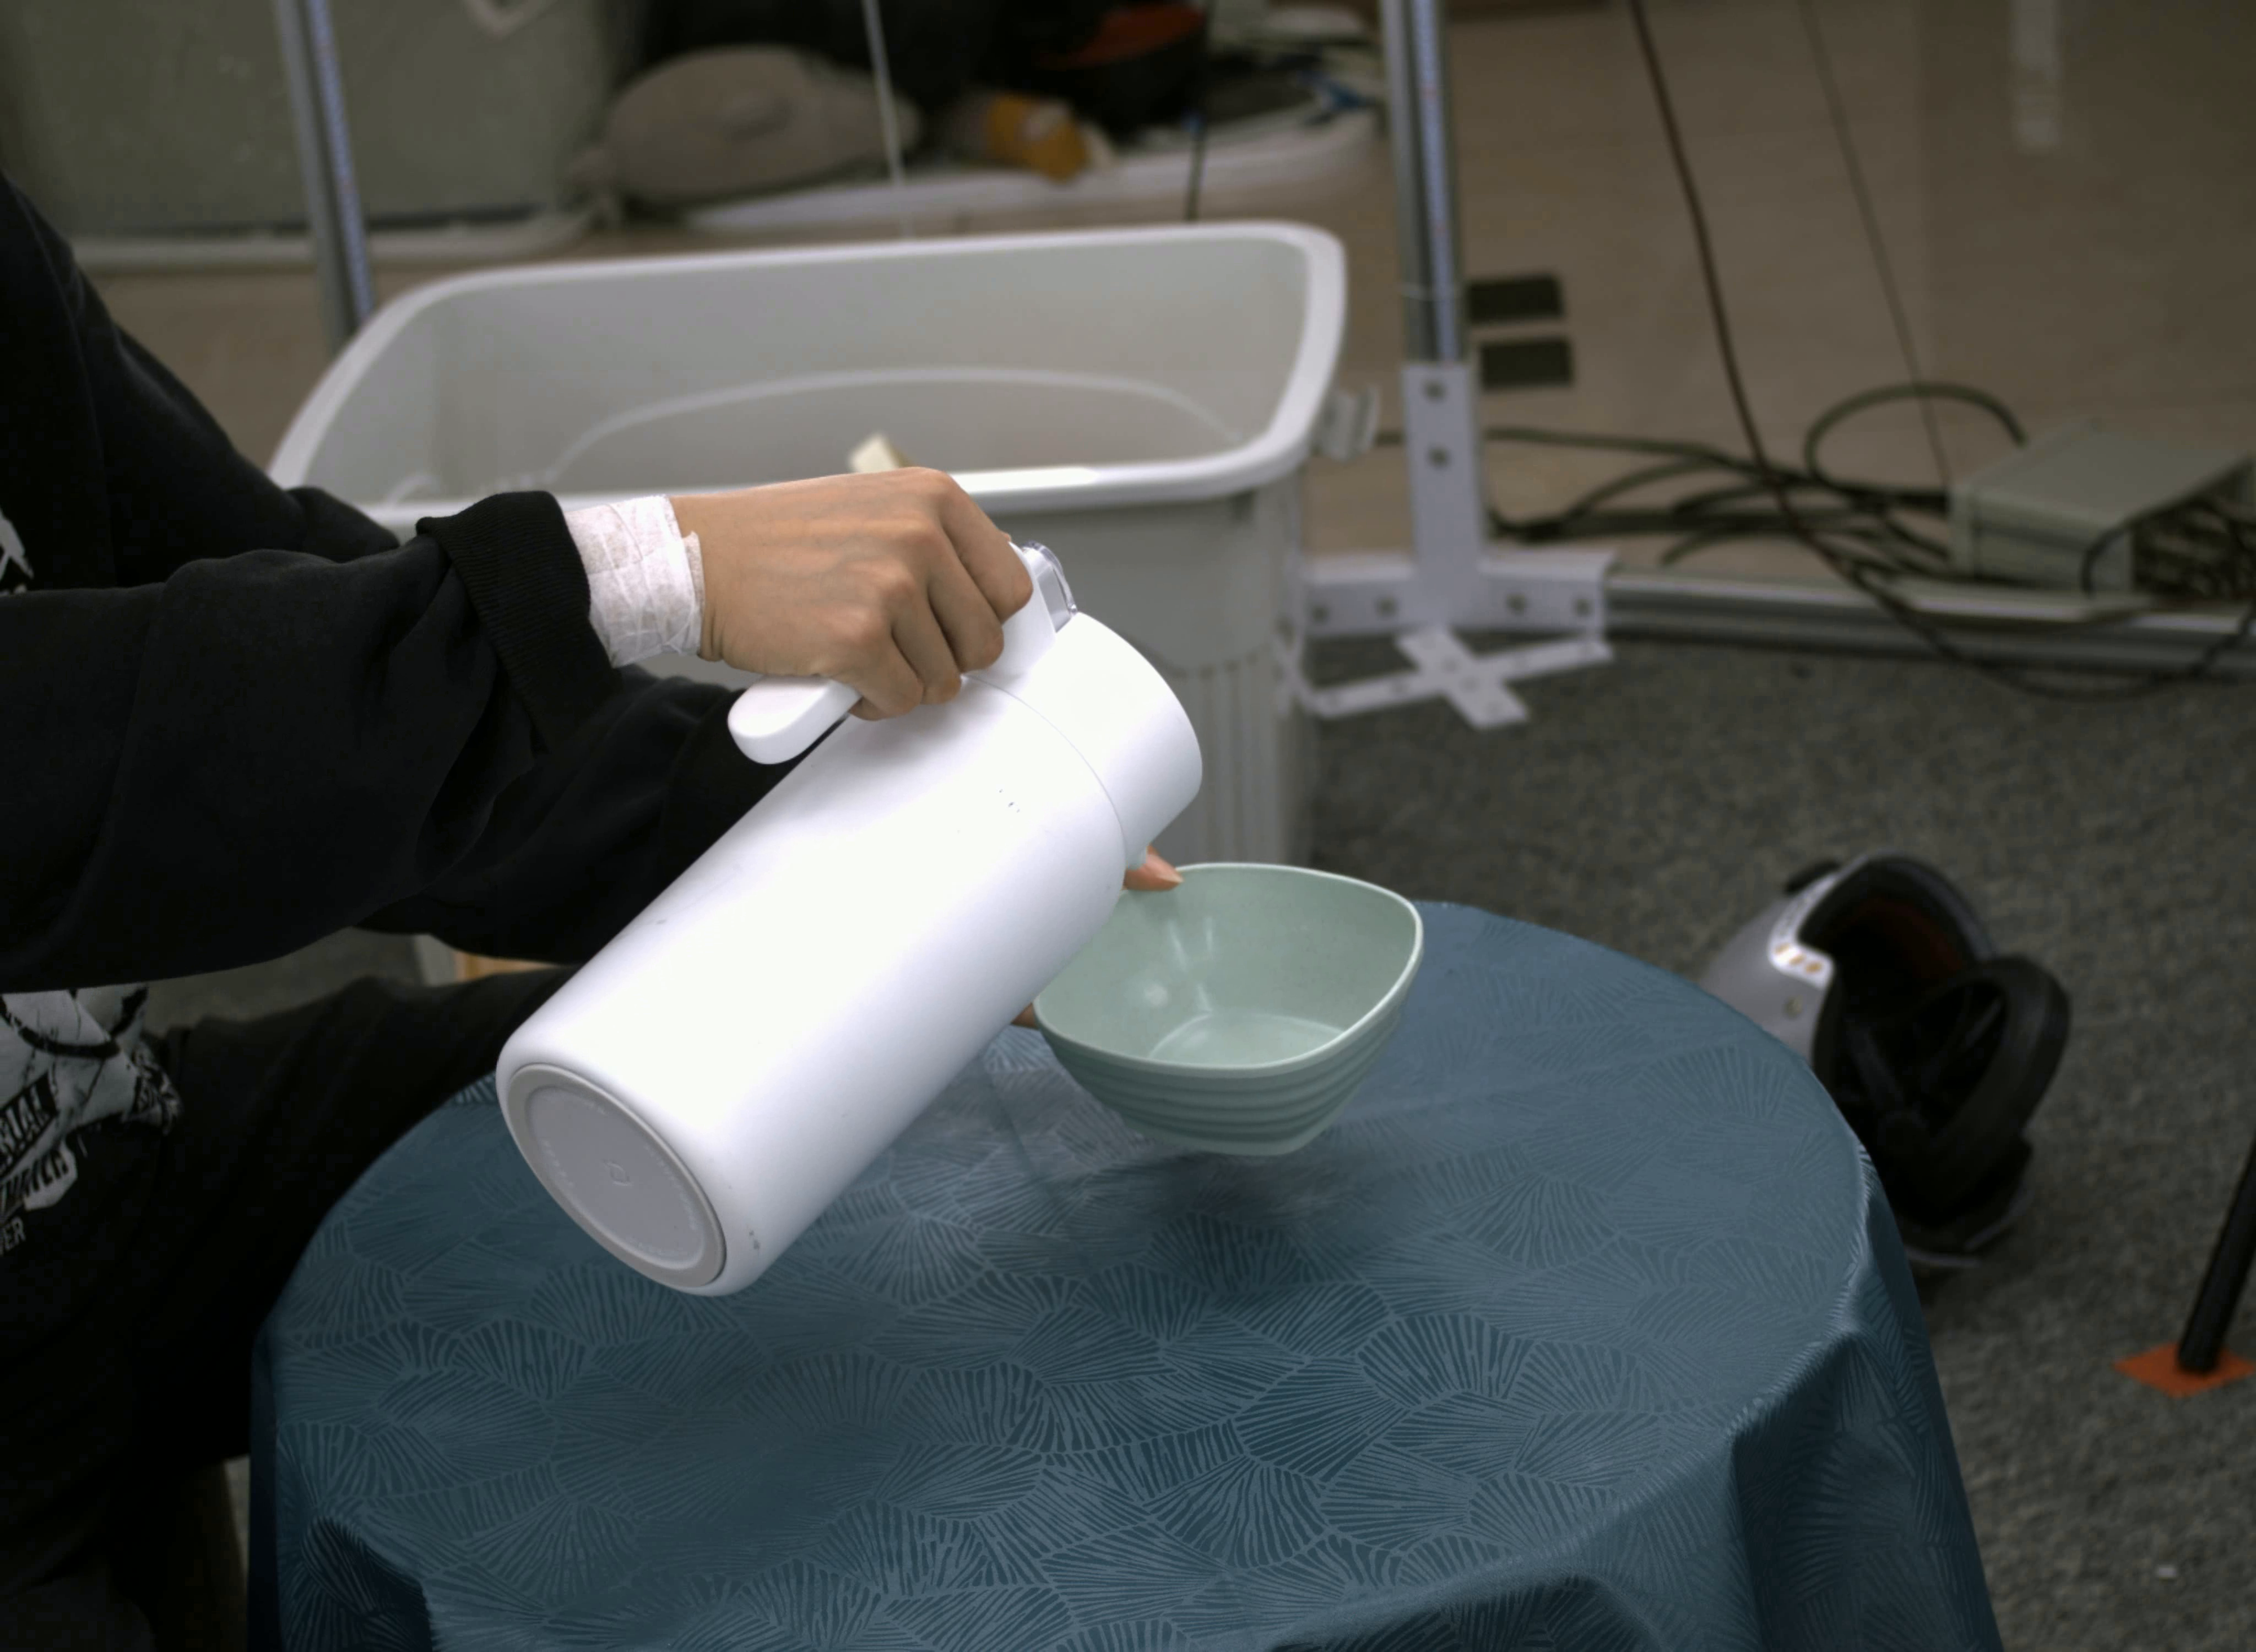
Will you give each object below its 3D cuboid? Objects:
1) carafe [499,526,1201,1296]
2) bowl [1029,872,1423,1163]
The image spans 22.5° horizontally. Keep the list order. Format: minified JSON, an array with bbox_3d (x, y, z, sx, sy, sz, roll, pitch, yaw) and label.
[{"bbox_3d":[-0.096,0.024,1.963,0.123,0.176,0.266,21,54,39],"label":"carafe"},{"bbox_3d":[0.040,0.078,2.118,0.151,0.060,0.149,-6,30,4],"label":"bowl"}]
